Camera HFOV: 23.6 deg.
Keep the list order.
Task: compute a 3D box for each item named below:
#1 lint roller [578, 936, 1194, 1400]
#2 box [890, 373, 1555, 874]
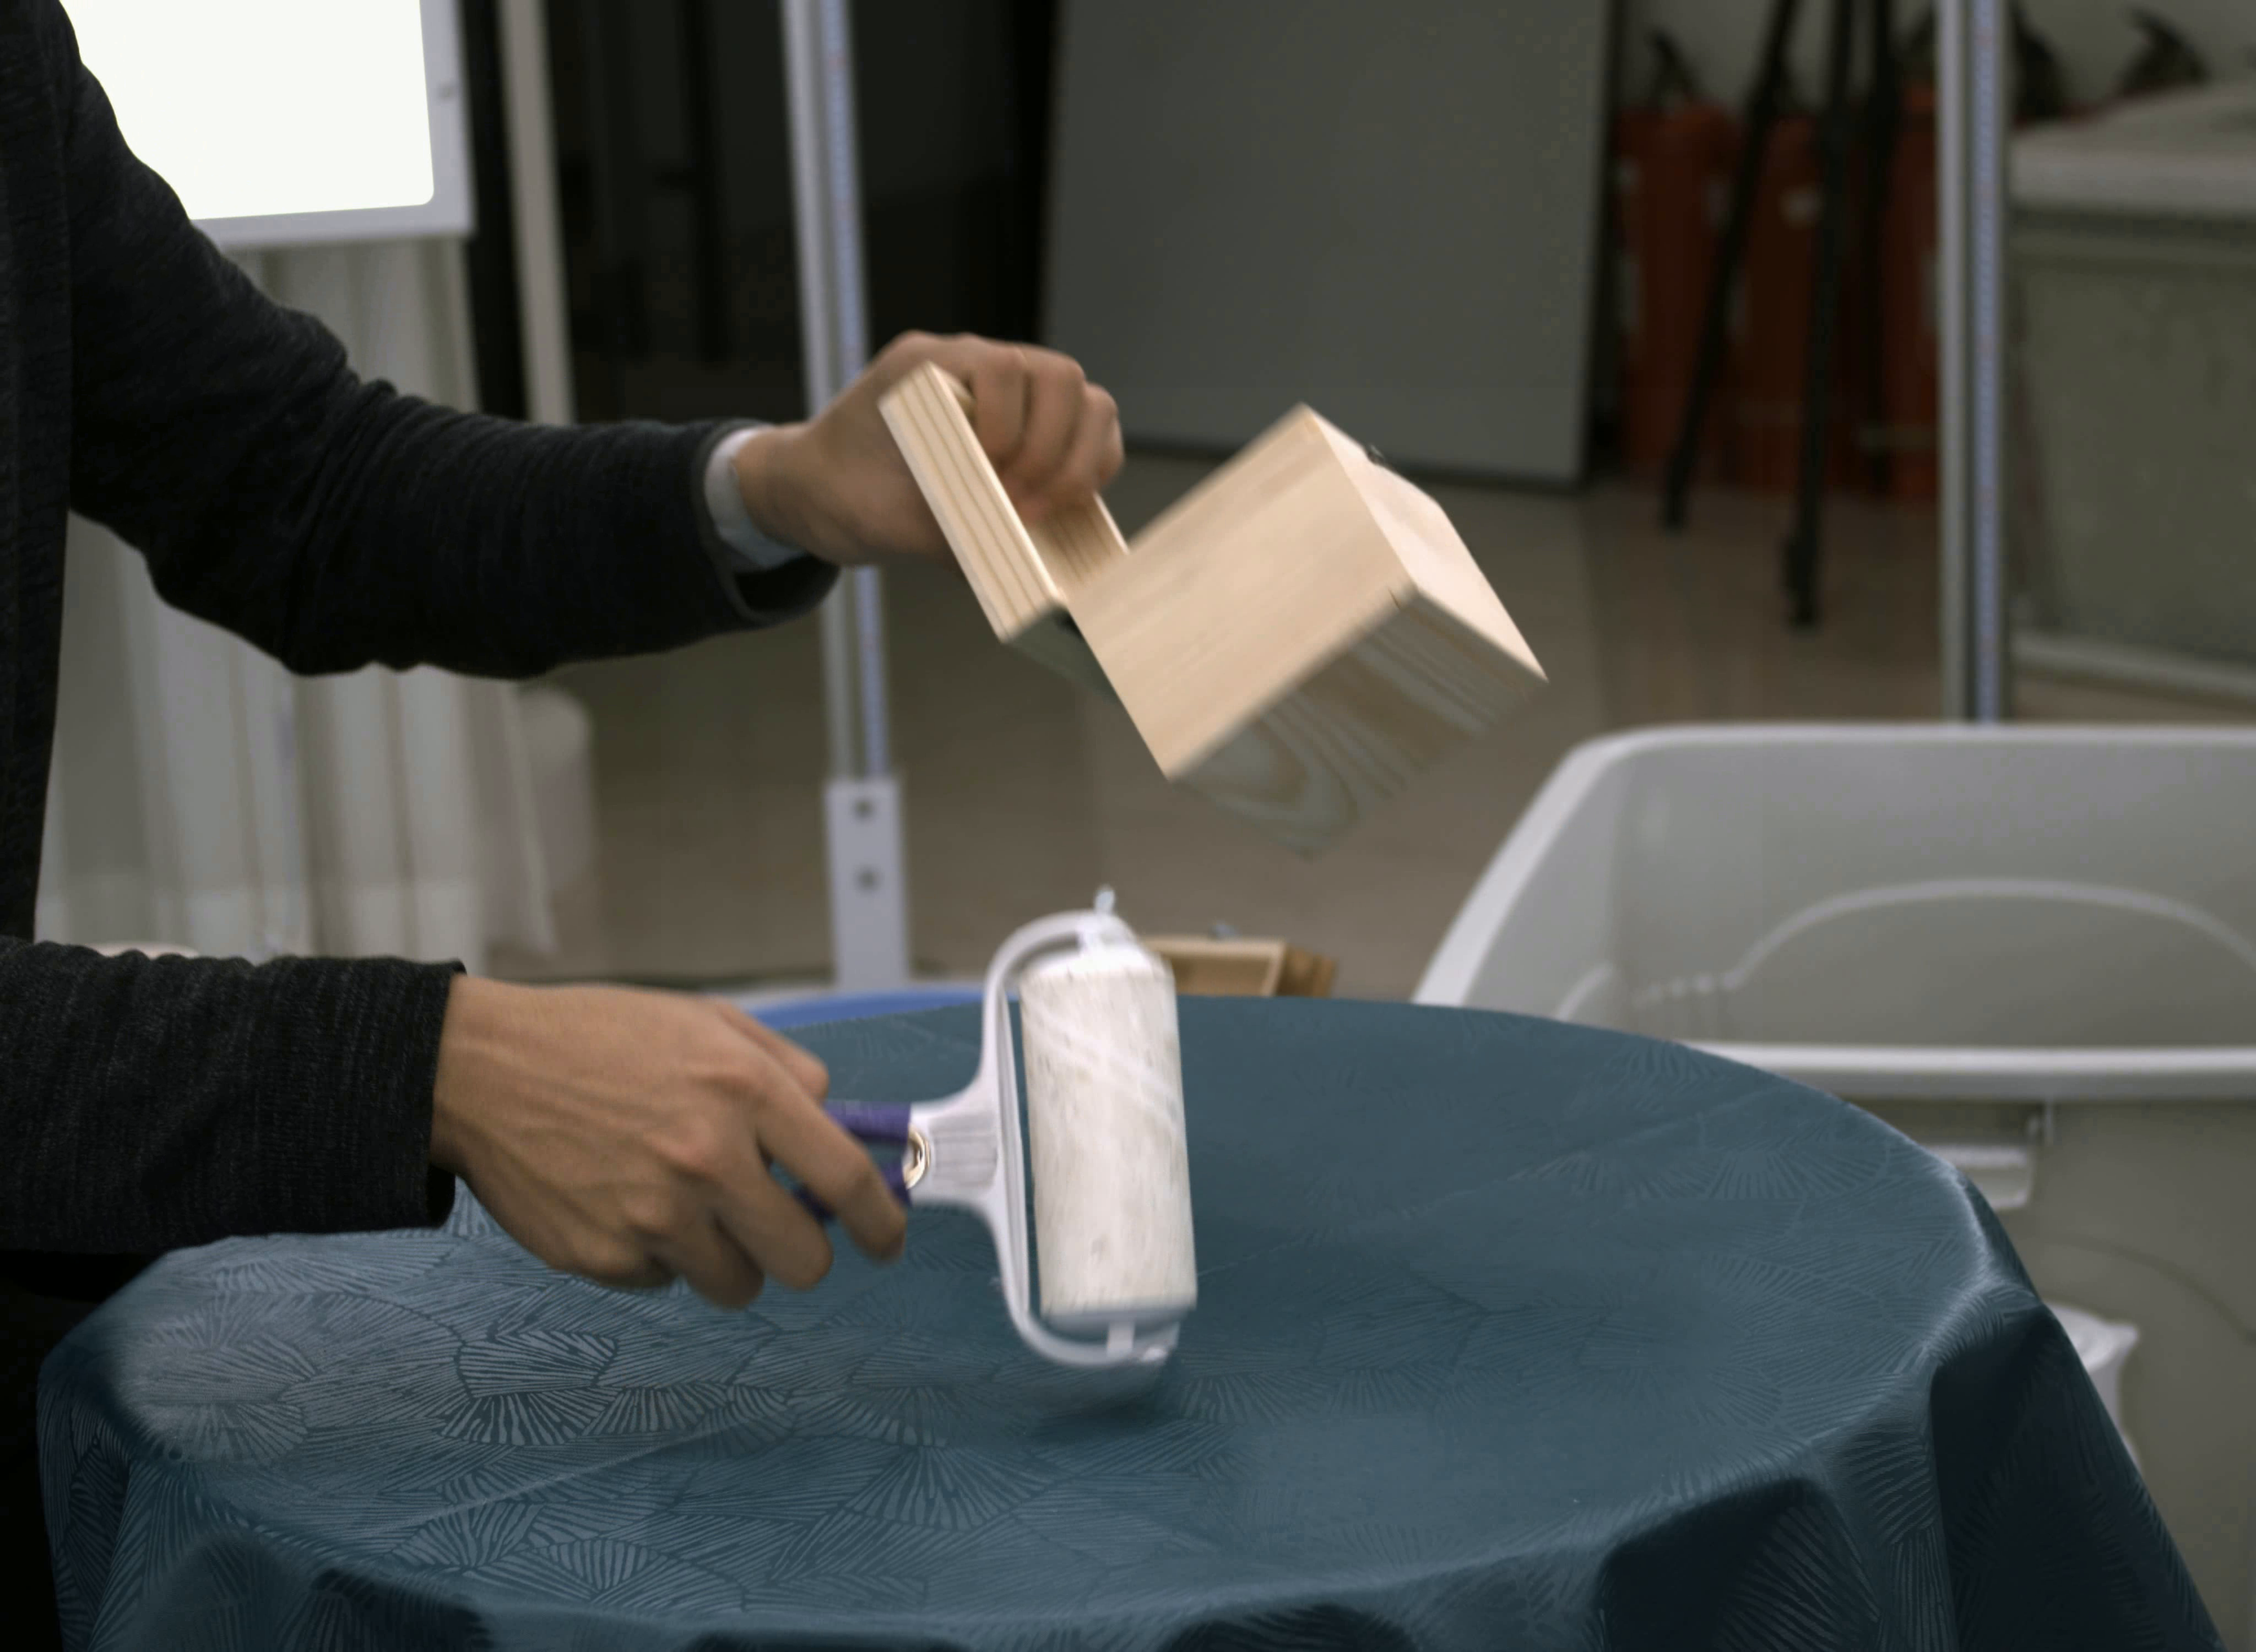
[{"bbox_3d":[-0.071,0.099,1.567,0.178,0.134,0.050,0,-14,-2],"label":"lint roller"},{"bbox_3d":[0.030,-0.091,1.744,0.134,0.187,0.101,-38,-30,15],"label":"box"}]
